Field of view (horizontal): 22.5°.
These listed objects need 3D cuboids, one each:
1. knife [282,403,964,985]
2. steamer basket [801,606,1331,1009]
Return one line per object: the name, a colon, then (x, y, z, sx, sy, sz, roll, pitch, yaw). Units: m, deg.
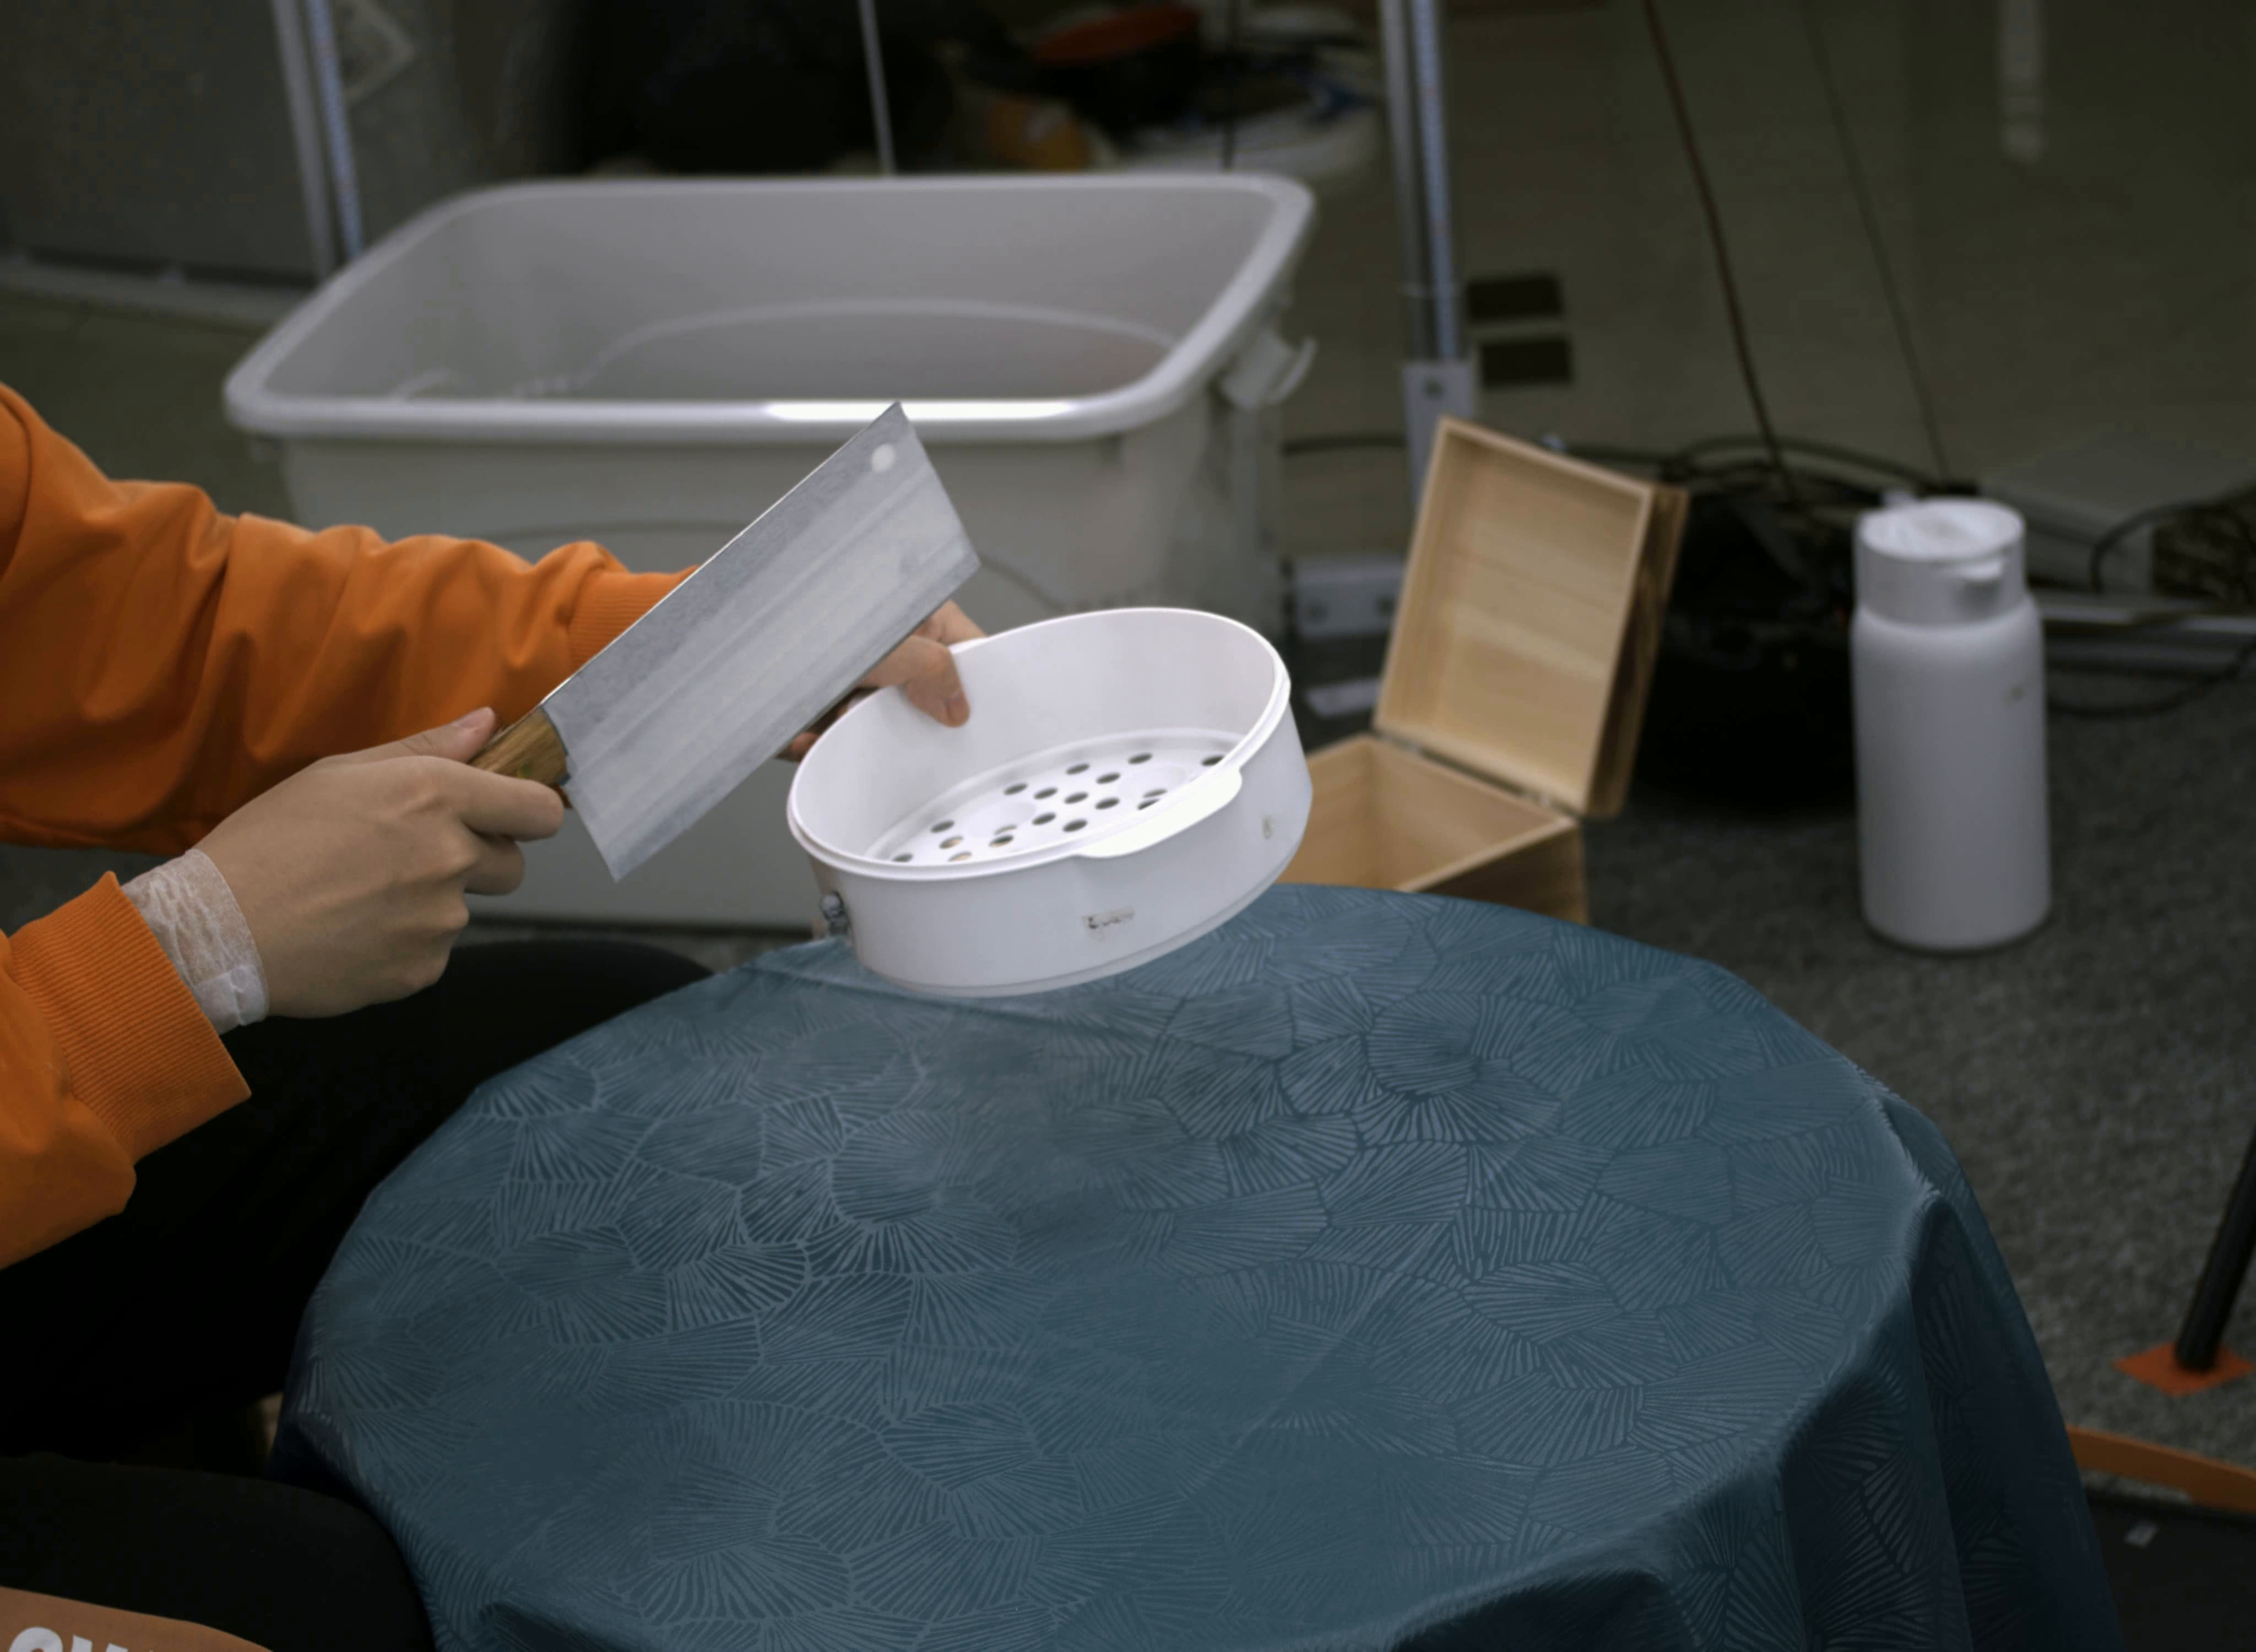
knife: (-0.178, -0.033, 2.079, 0.304, 0.094, 0.021, -42, 44, -15)
steamer basket: (-0.021, -0.006, 2.172, 0.200, 0.070, 0.228, -29, 32, -21)
